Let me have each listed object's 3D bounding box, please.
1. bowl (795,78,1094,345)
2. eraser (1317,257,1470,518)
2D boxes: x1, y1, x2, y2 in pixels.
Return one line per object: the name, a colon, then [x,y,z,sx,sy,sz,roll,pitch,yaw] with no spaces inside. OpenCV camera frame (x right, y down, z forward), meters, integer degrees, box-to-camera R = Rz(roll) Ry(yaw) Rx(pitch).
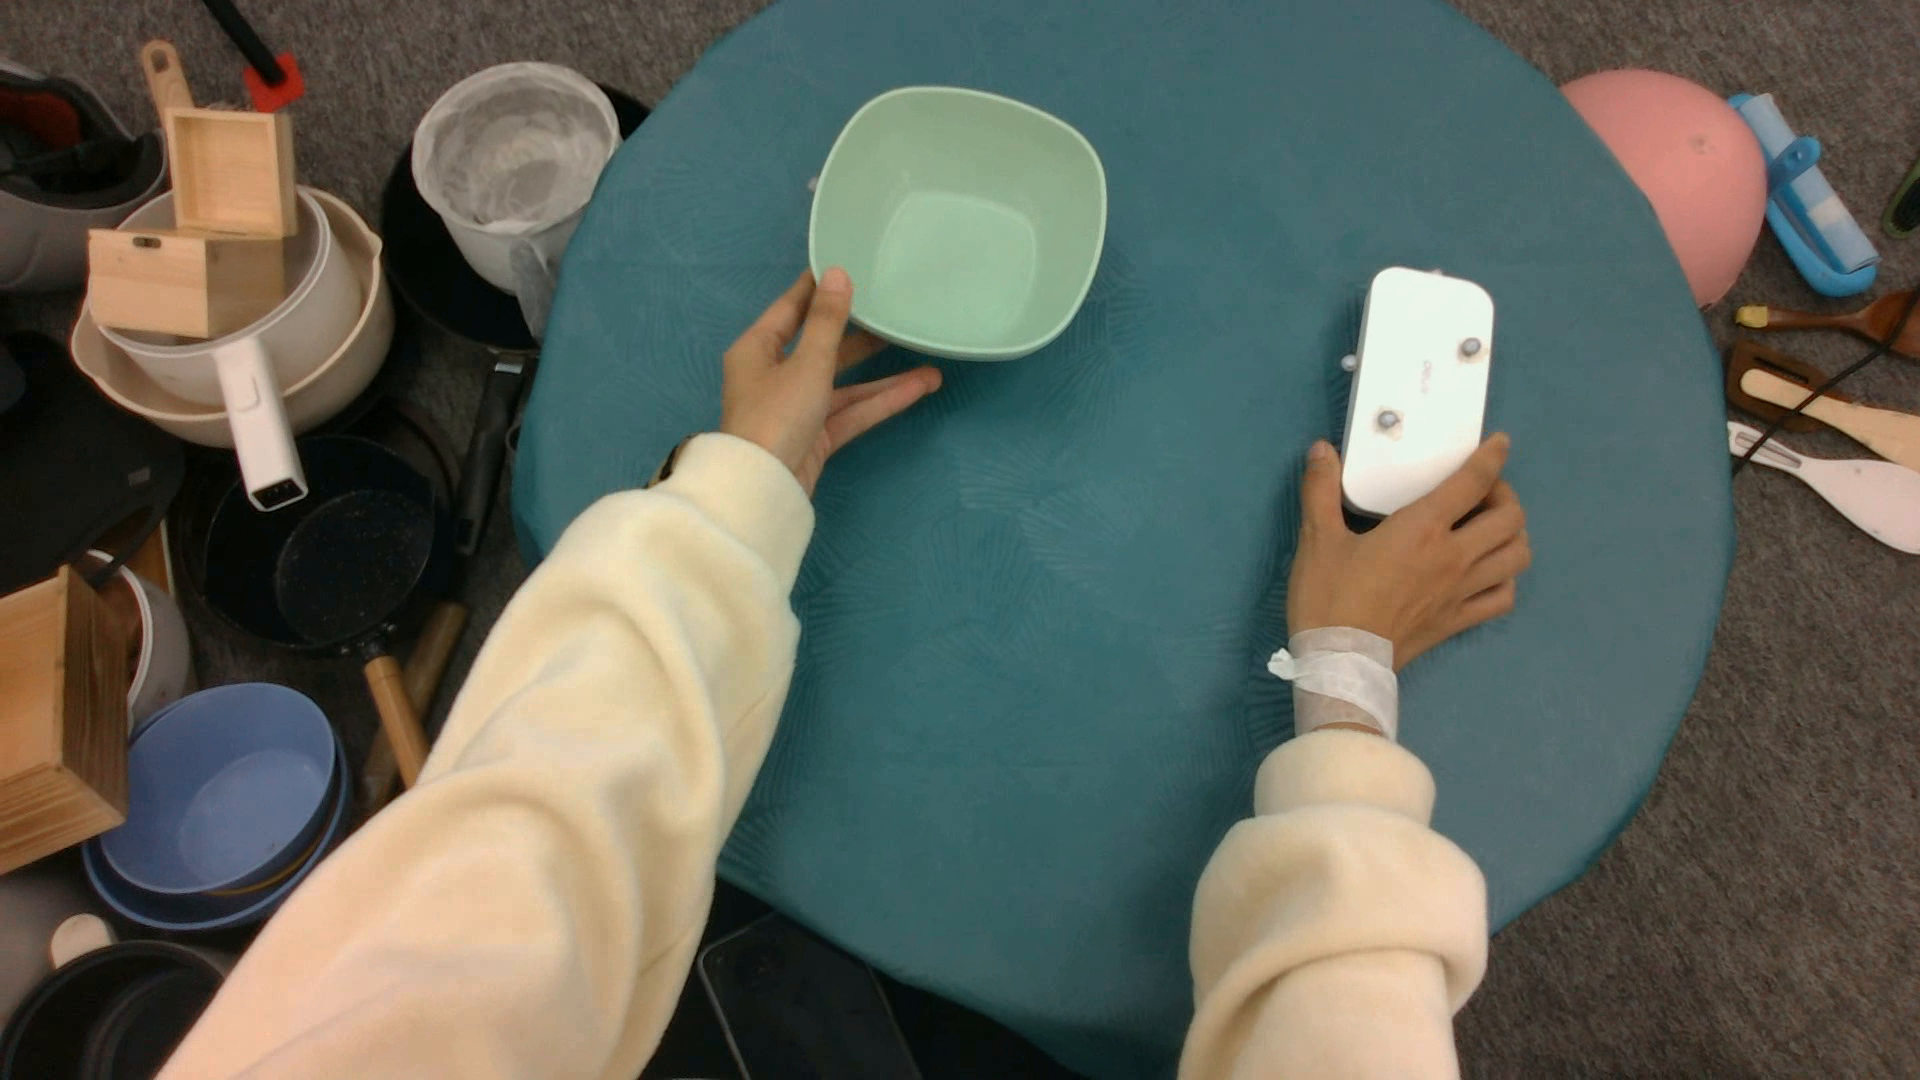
bowl: [-0.007,-0.151,0.676,0.151,0.058,0.152,0,71,0]
eraser: [0.213,-0.077,0.682,0.063,0.034,0.131,13,73,1]
